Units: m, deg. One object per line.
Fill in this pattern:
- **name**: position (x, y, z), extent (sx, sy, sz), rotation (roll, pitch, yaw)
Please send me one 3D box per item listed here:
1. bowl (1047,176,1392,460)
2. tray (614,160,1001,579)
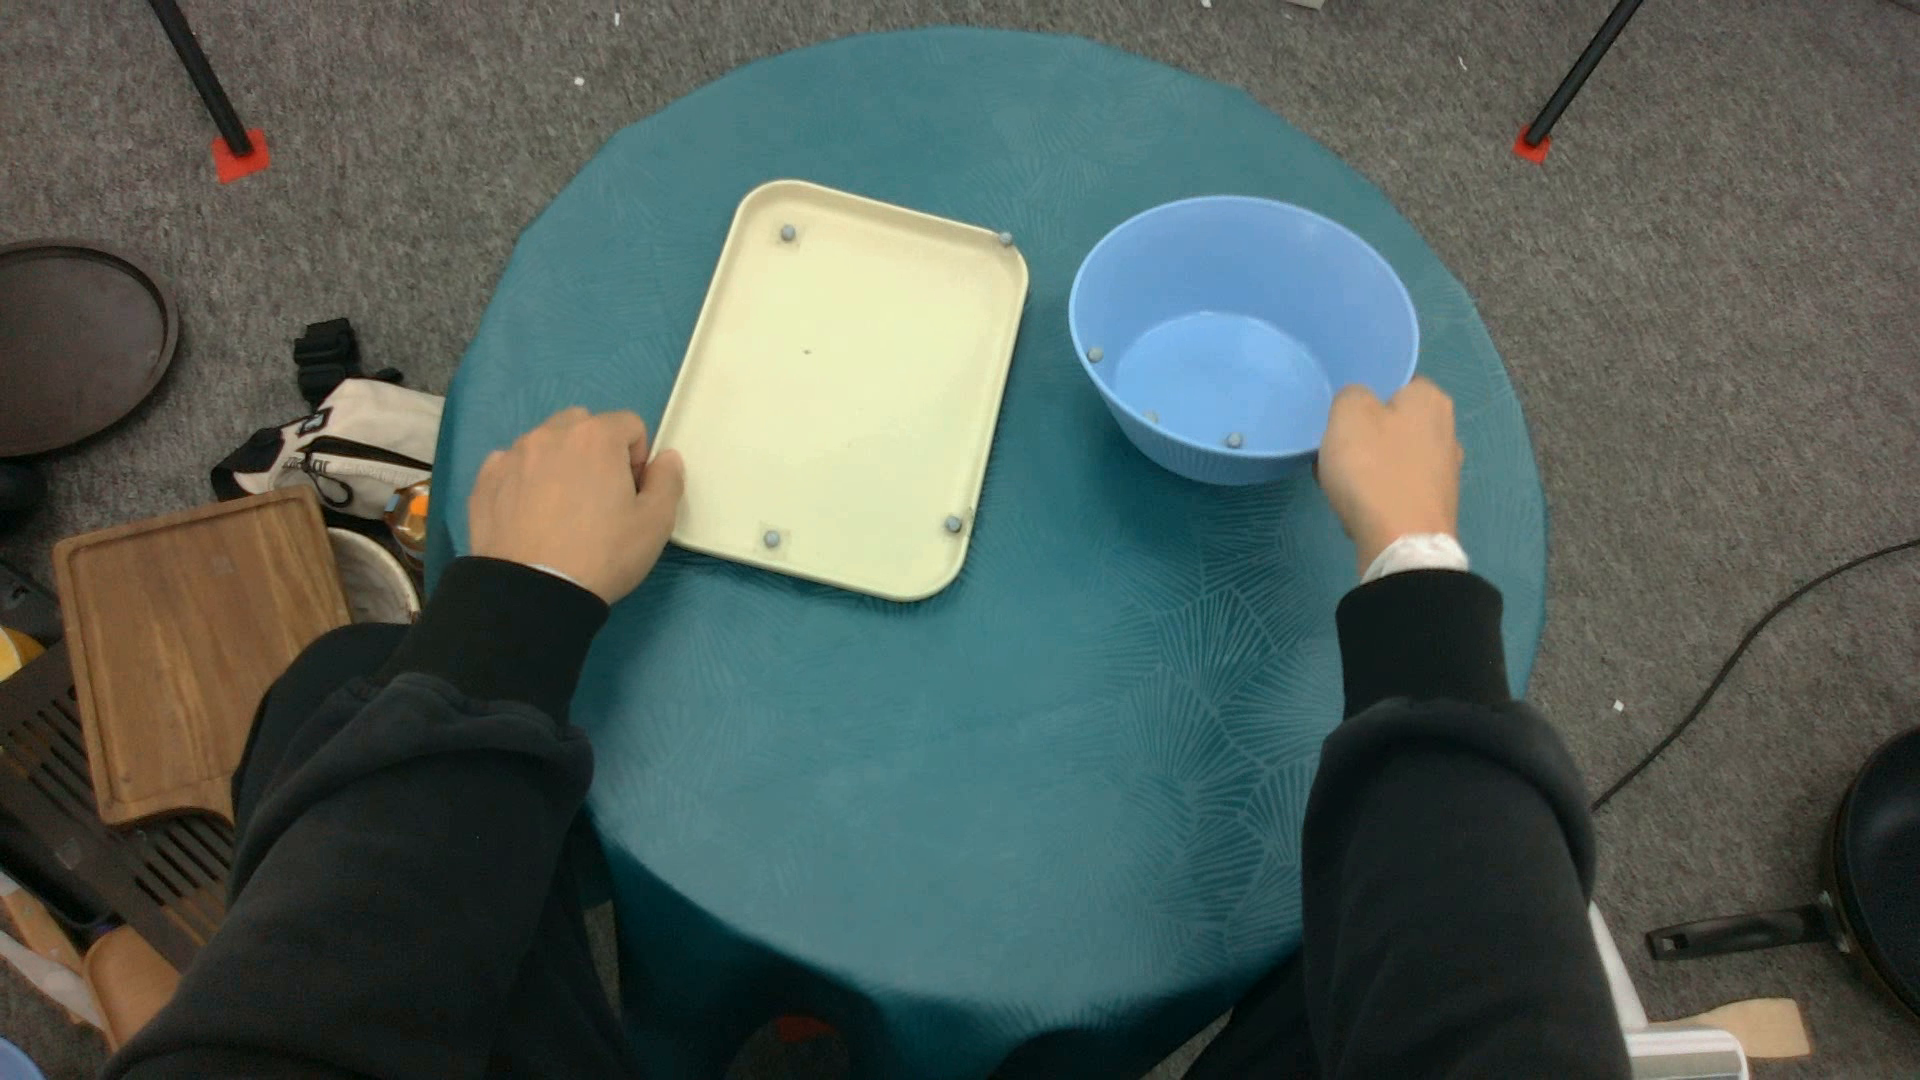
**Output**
- **bowl**: position (0.133, -0.108, 0.730), extent (0.176, 0.070, 0.177), rotation (0, 56, 0)
- **tray**: position (-0.076, -0.097, 0.743), extent (0.171, 0.017, 0.240), rotation (13, 64, -2)
